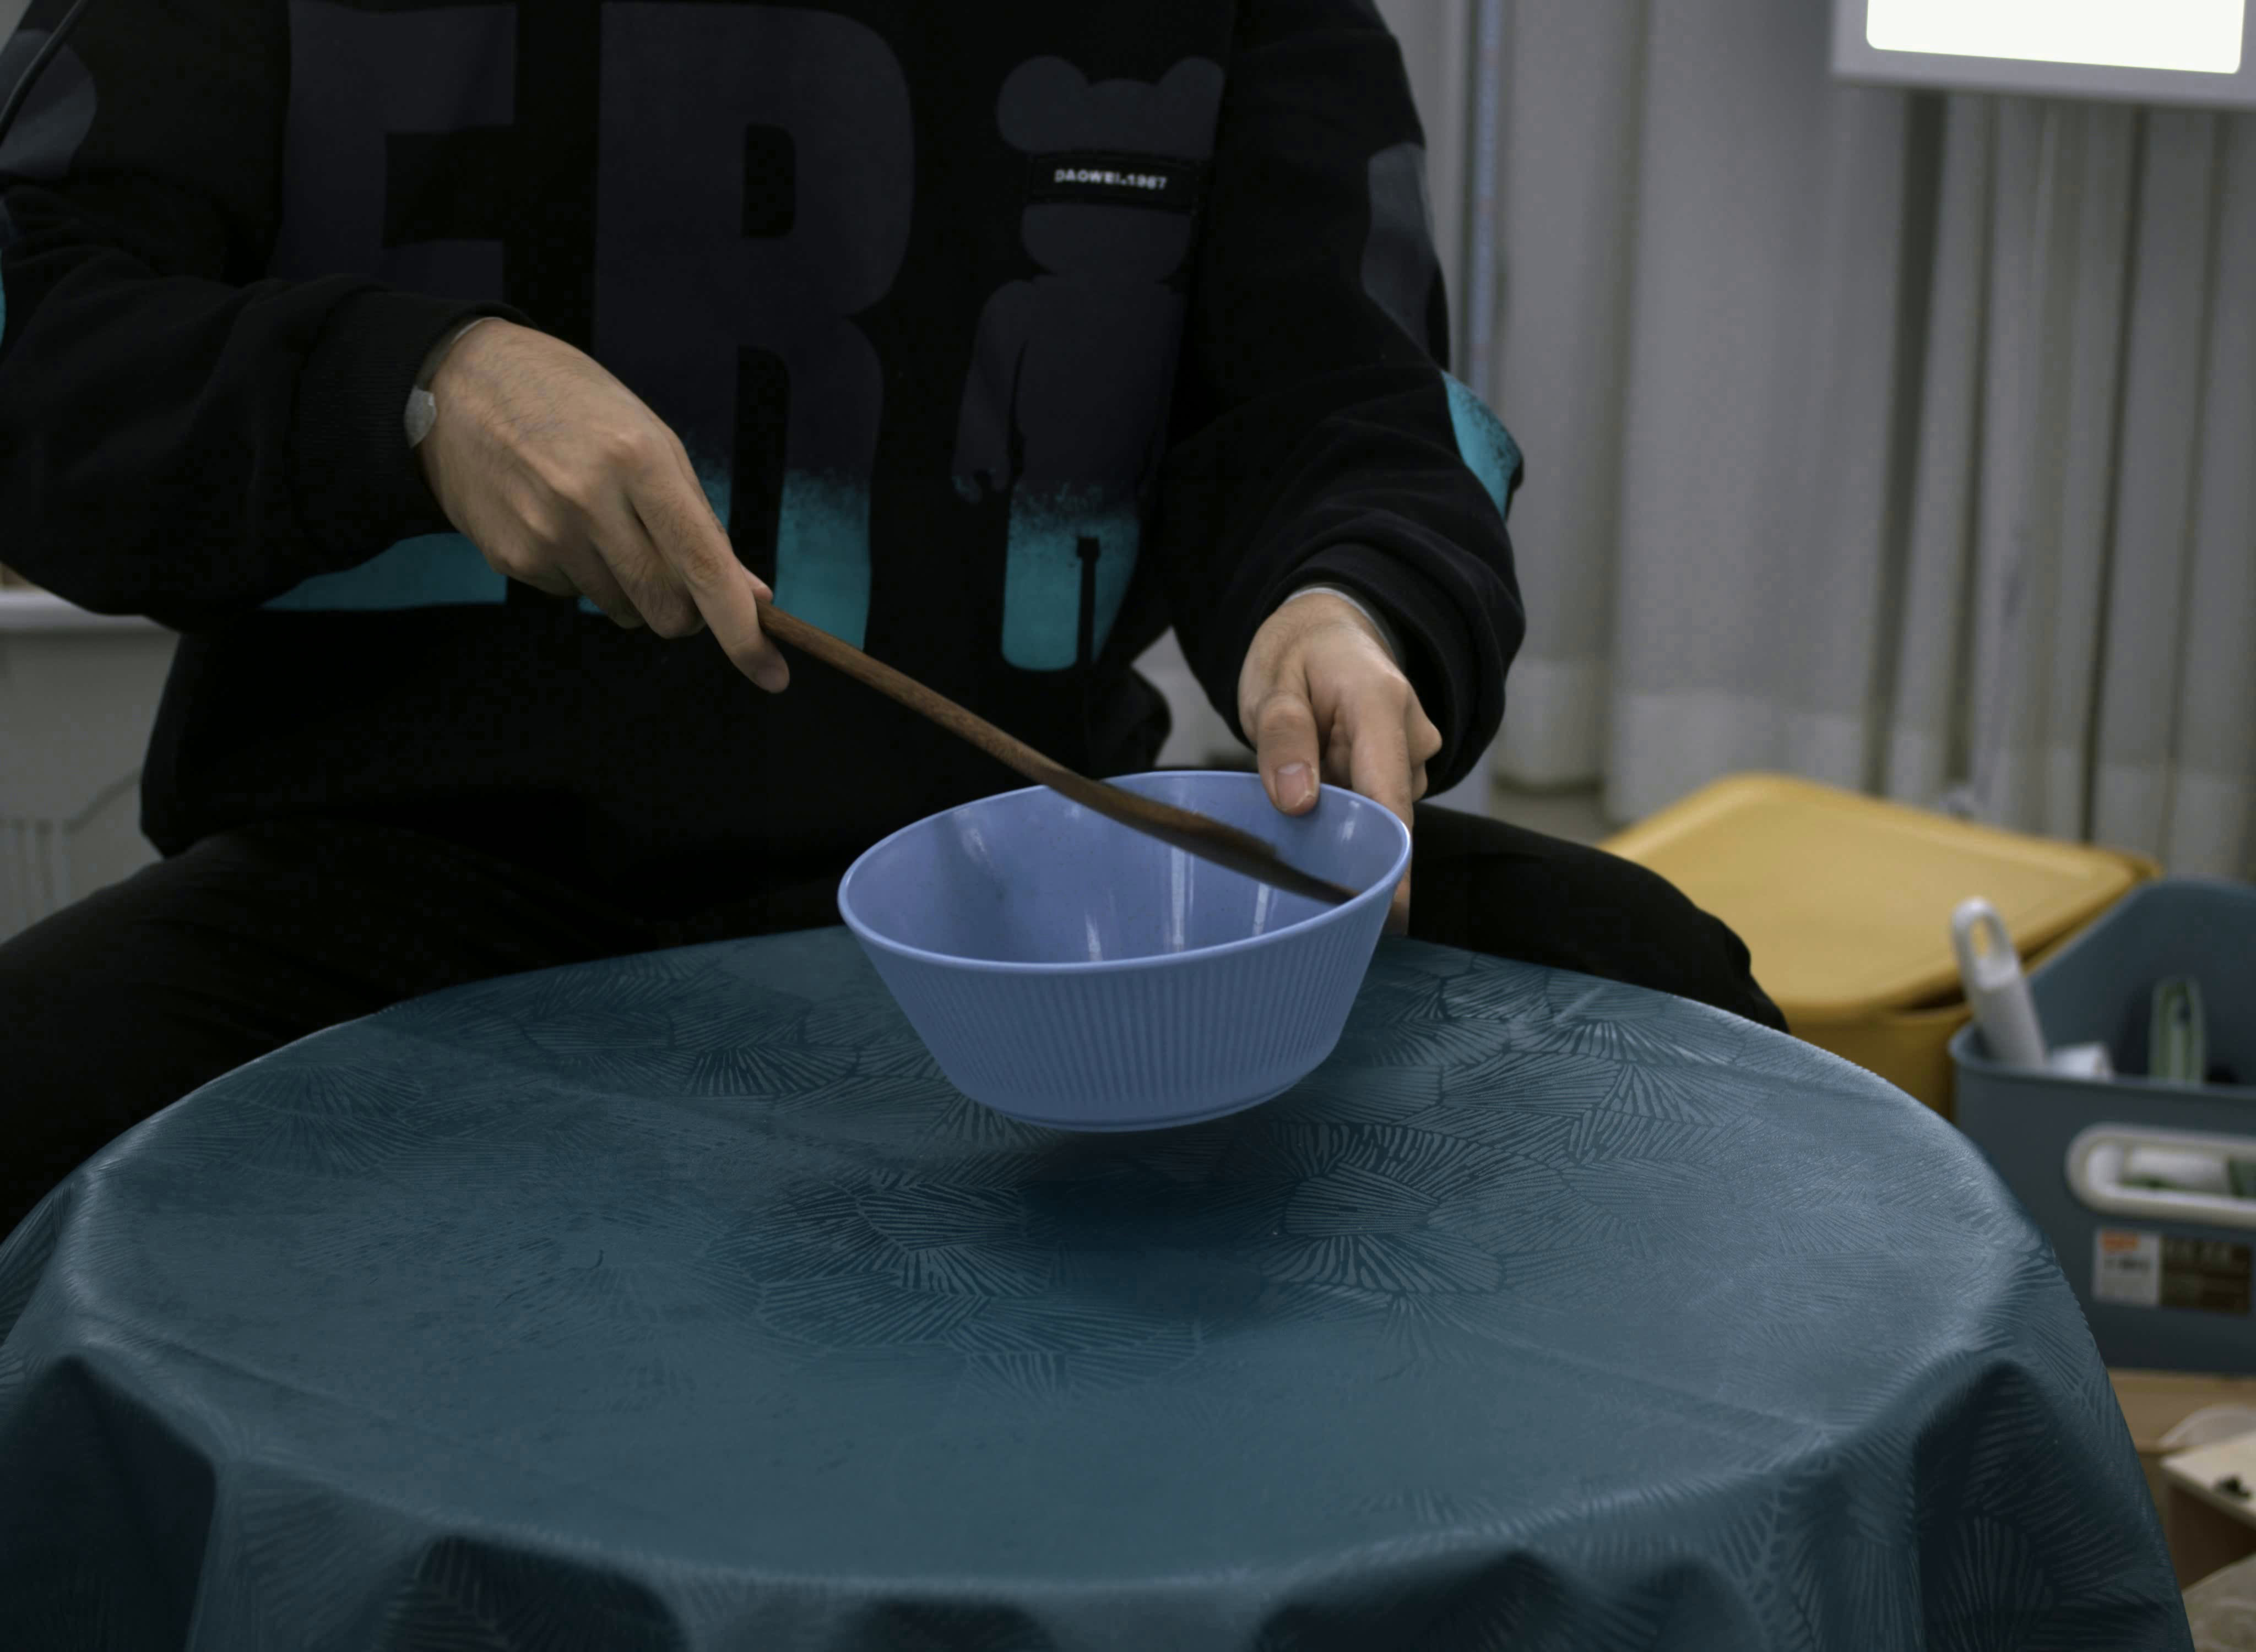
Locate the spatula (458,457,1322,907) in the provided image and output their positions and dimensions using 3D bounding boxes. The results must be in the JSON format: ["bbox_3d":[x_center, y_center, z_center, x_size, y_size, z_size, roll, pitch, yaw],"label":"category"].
[{"bbox_3d":[-0.083,-0.049,1.684,0.381,0.016,0.097,28,2,33],"label":"spatula"}]

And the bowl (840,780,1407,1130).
[{"bbox_3d":[0.002,0.043,1.618,0.175,0.071,0.175,-5,17,2],"label":"bowl"}]
